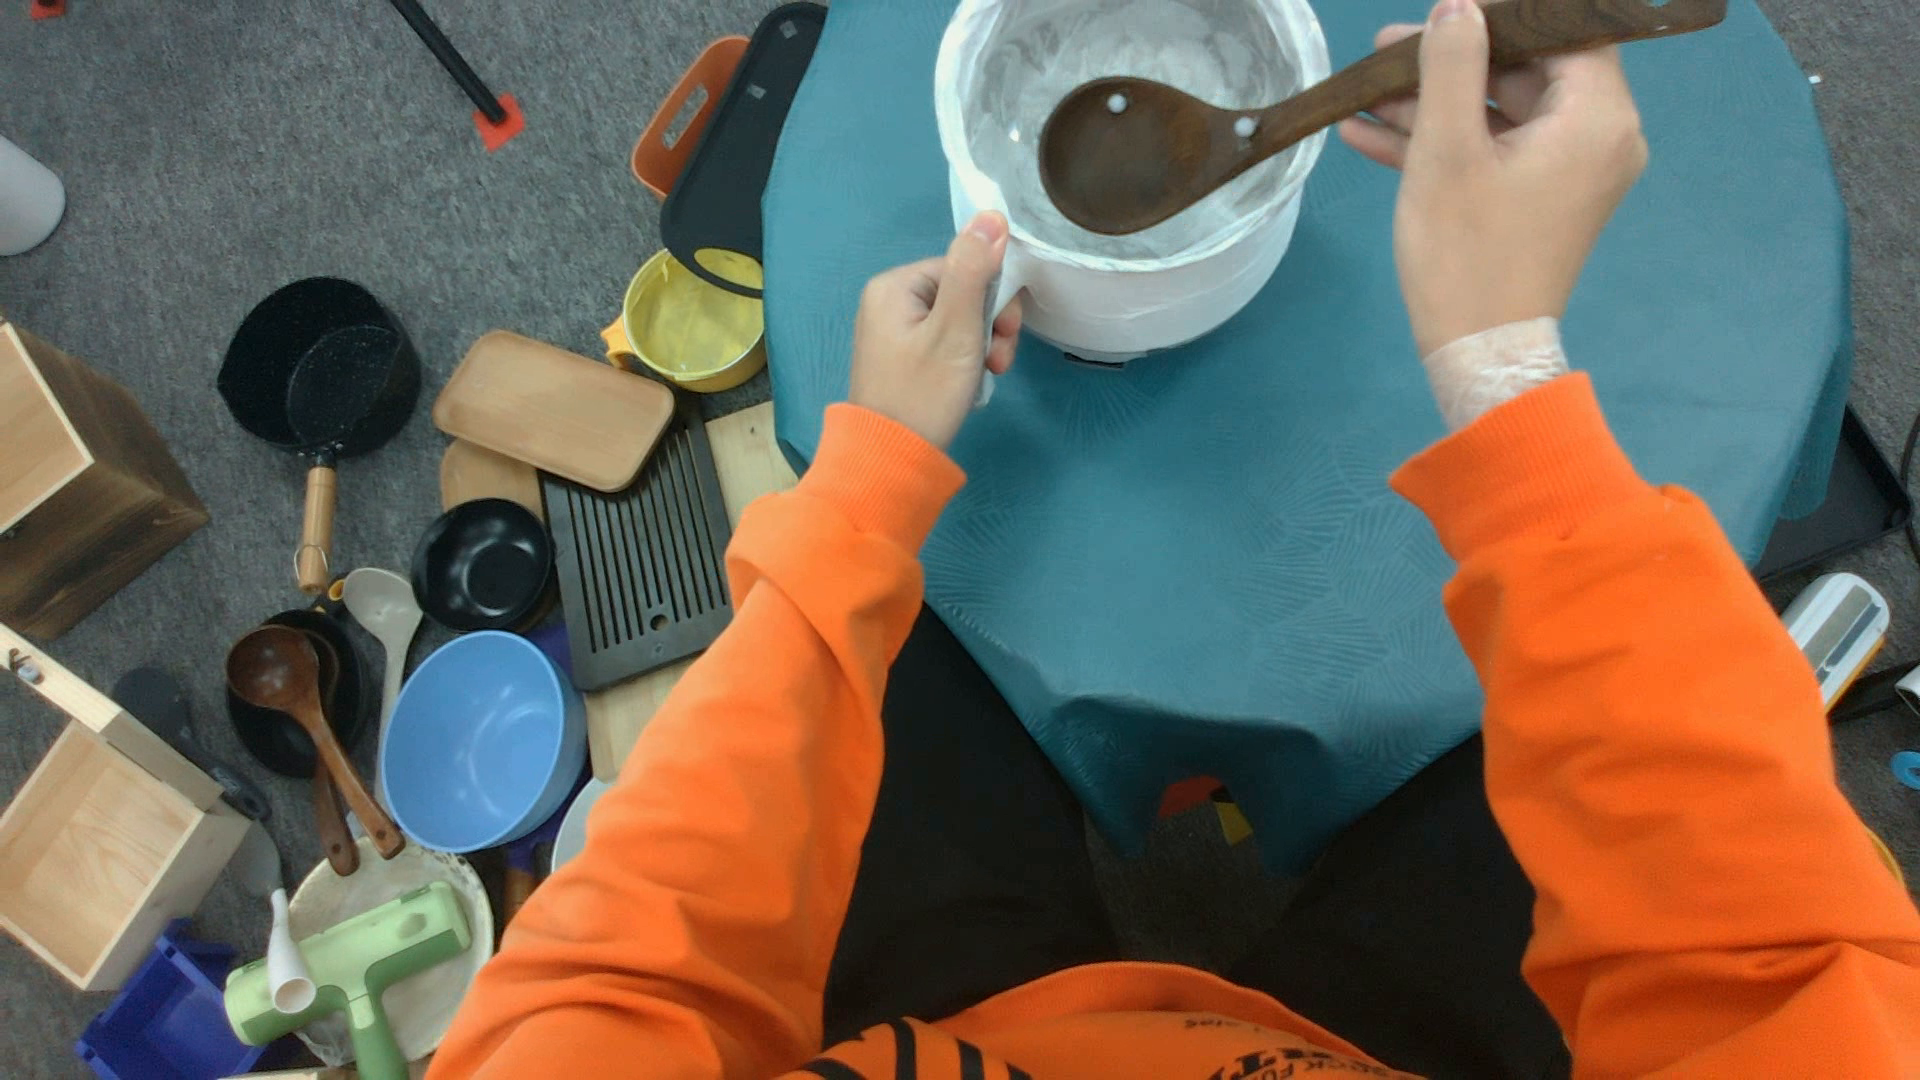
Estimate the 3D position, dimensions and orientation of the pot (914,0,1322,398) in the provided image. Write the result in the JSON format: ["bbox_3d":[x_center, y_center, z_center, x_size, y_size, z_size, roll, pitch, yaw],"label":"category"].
[{"bbox_3d":[0.061,-0.174,0.675,0.179,0.136,0.234,38,82,12],"label":"pot"}]

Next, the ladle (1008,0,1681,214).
[{"bbox_3d":[0.129,-0.187,0.535,0.273,0.071,0.076,-3,80,51],"label":"ladle"}]
